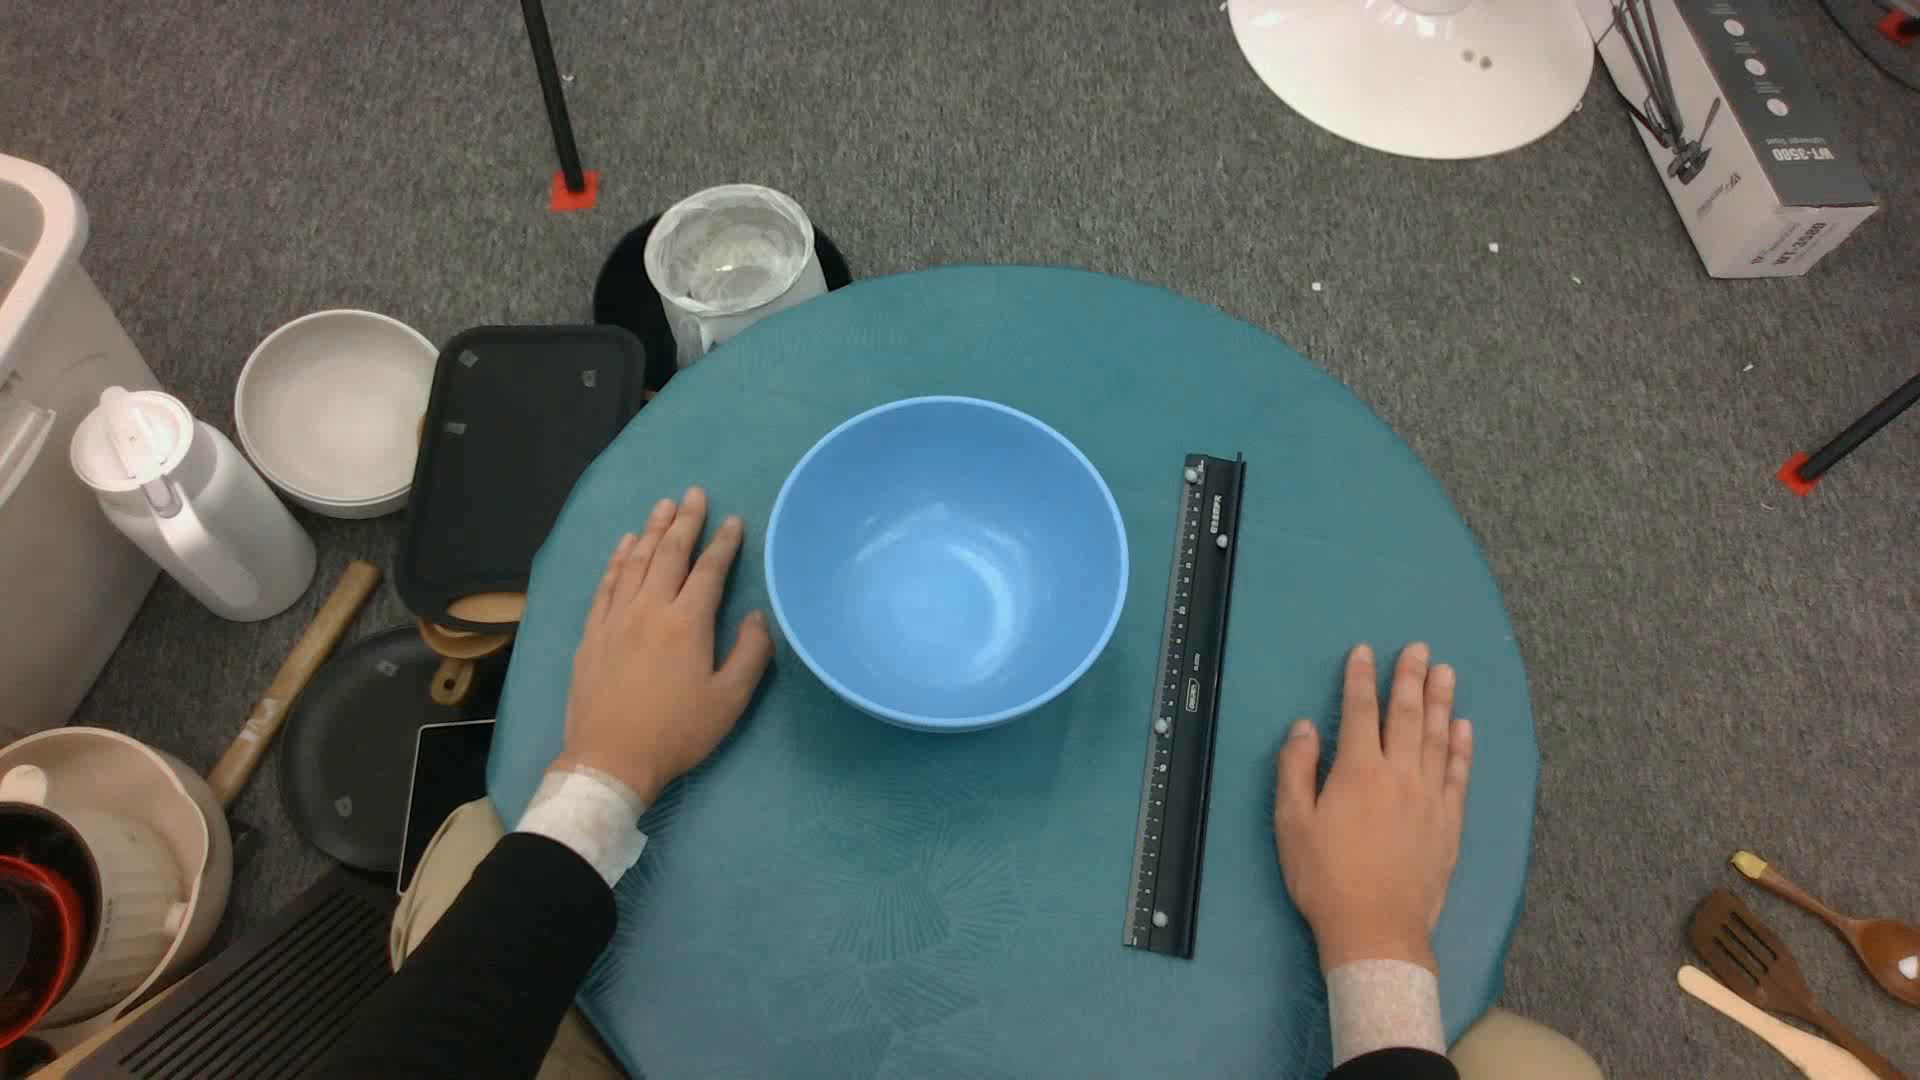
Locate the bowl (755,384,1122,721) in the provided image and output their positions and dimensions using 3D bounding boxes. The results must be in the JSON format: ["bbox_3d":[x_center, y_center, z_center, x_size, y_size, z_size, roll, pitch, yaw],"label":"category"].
[{"bbox_3d":[-0.013,0.019,0.777,0.196,0.095,0.197,2,63,-3],"label":"bowl"}]

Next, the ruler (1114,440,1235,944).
[{"bbox_3d":[0.129,0.074,0.805,0.039,0.017,0.314,9,64,5],"label":"ruler"}]
